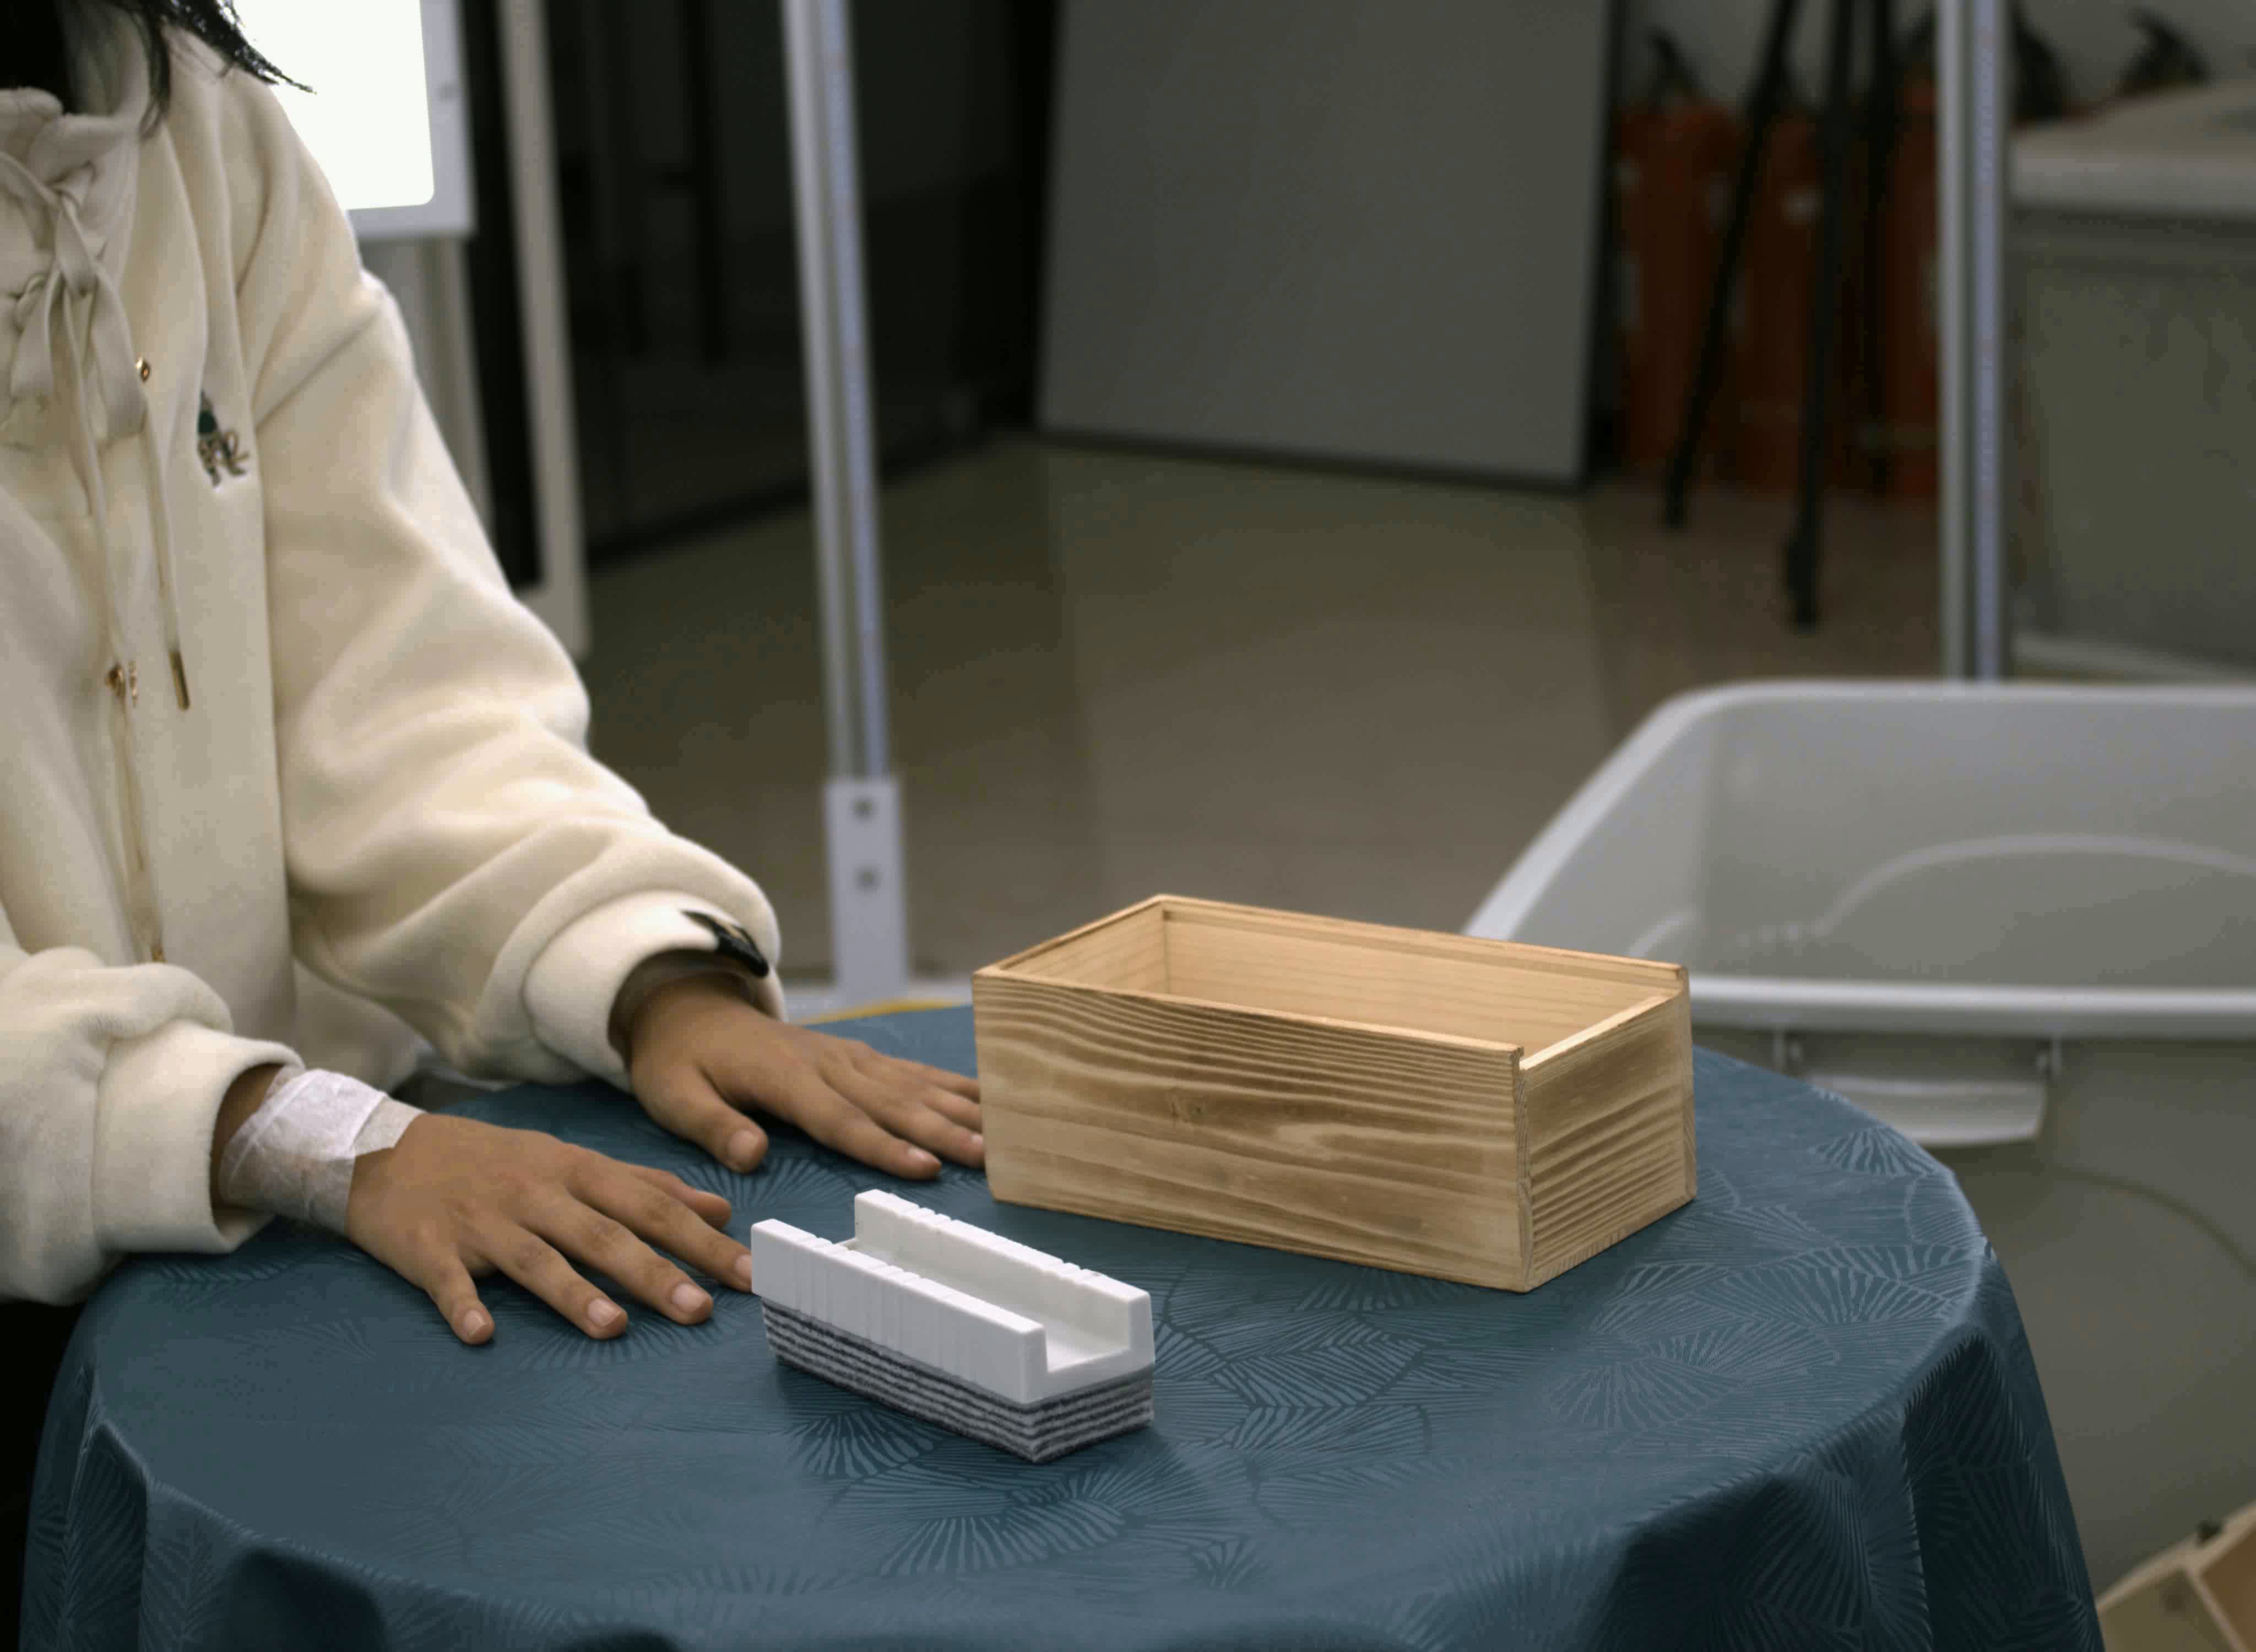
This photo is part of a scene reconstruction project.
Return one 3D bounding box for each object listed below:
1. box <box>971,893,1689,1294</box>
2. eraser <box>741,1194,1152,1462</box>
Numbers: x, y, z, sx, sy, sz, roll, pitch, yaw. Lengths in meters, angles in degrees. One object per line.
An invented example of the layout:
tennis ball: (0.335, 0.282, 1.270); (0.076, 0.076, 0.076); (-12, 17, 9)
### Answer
box: (0.064, 0.083, 1.738); (0.213, 0.081, 0.105); (7, 17, 36)
eraser: (-0.054, 0.146, 1.585); (0.049, 0.047, 0.135); (-17, 20, -38)
